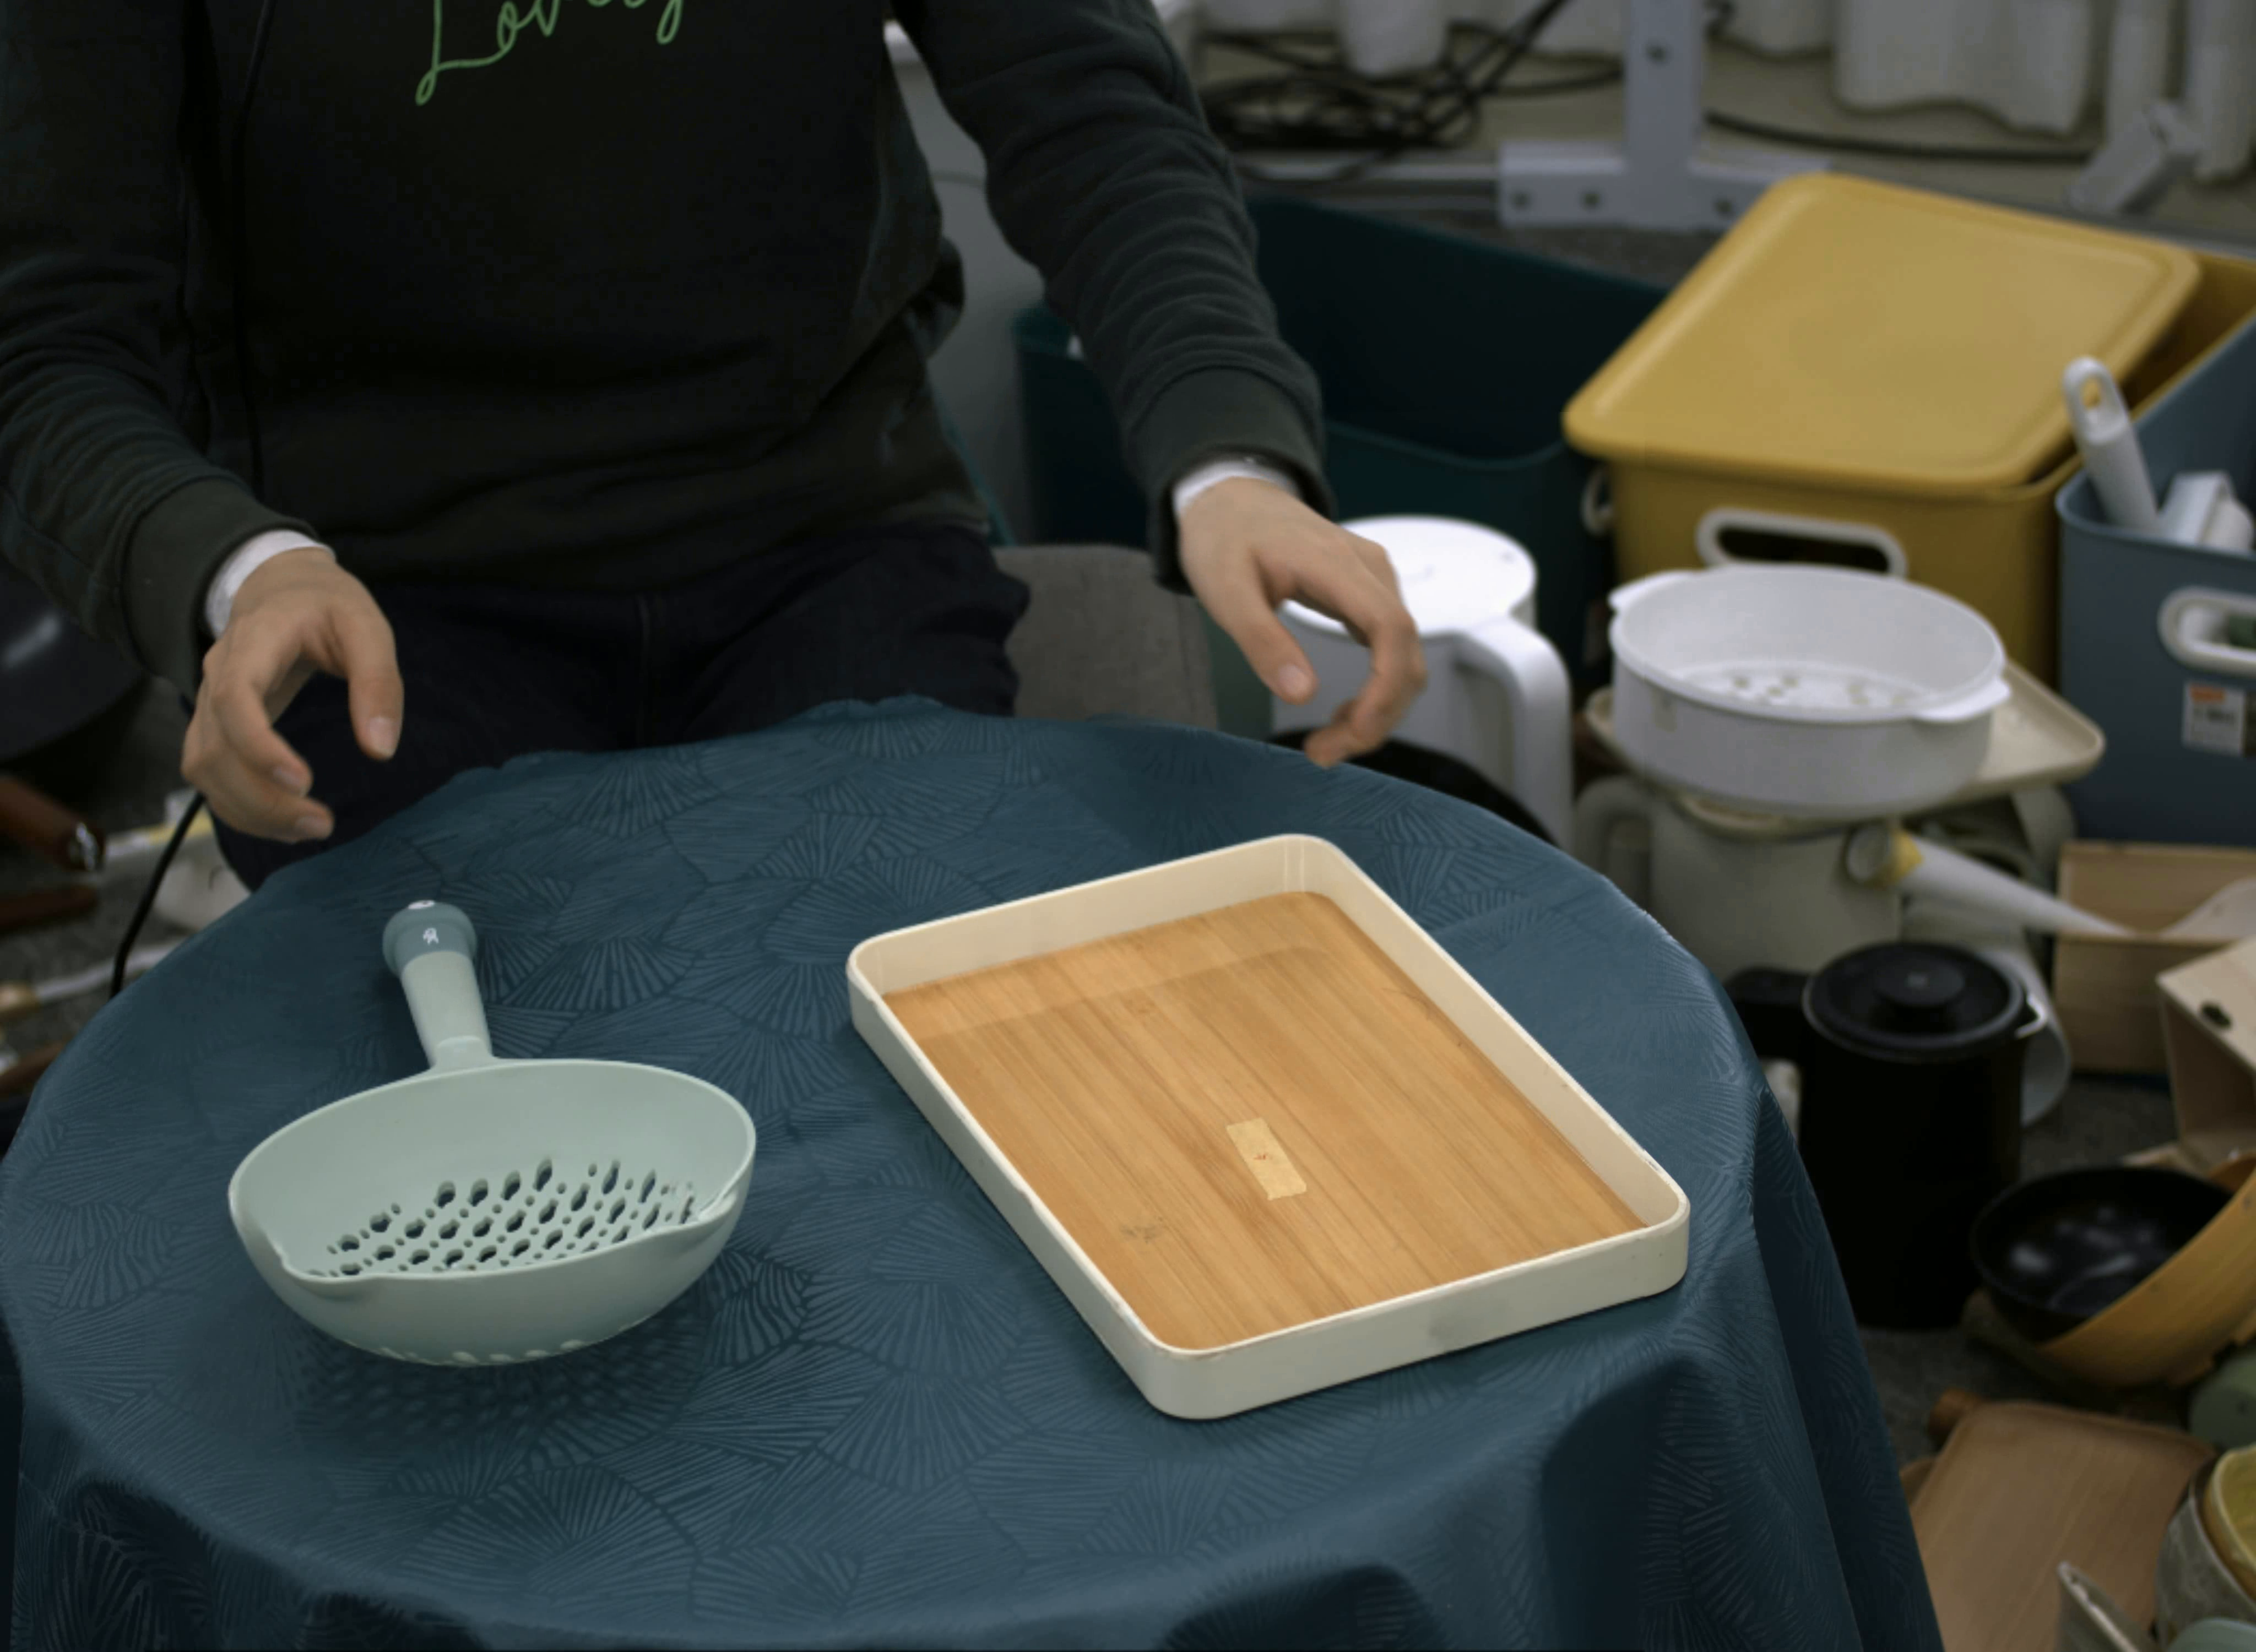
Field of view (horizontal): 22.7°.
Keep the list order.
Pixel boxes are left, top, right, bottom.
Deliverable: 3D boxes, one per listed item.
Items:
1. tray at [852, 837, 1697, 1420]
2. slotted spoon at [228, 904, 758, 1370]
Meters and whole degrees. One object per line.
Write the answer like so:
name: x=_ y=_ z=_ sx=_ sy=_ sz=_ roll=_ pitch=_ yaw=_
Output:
tray: x=0.043 y=0.095 z=1.880 sx=0.192 sy=0.027 sz=0.302 roll=-13 pitch=29 yaw=-19
slotted spoon: x=-0.220 y=0.088 z=1.878 sx=0.169 sy=0.074 sz=0.363 roll=-7 pitch=28 yaw=-10
